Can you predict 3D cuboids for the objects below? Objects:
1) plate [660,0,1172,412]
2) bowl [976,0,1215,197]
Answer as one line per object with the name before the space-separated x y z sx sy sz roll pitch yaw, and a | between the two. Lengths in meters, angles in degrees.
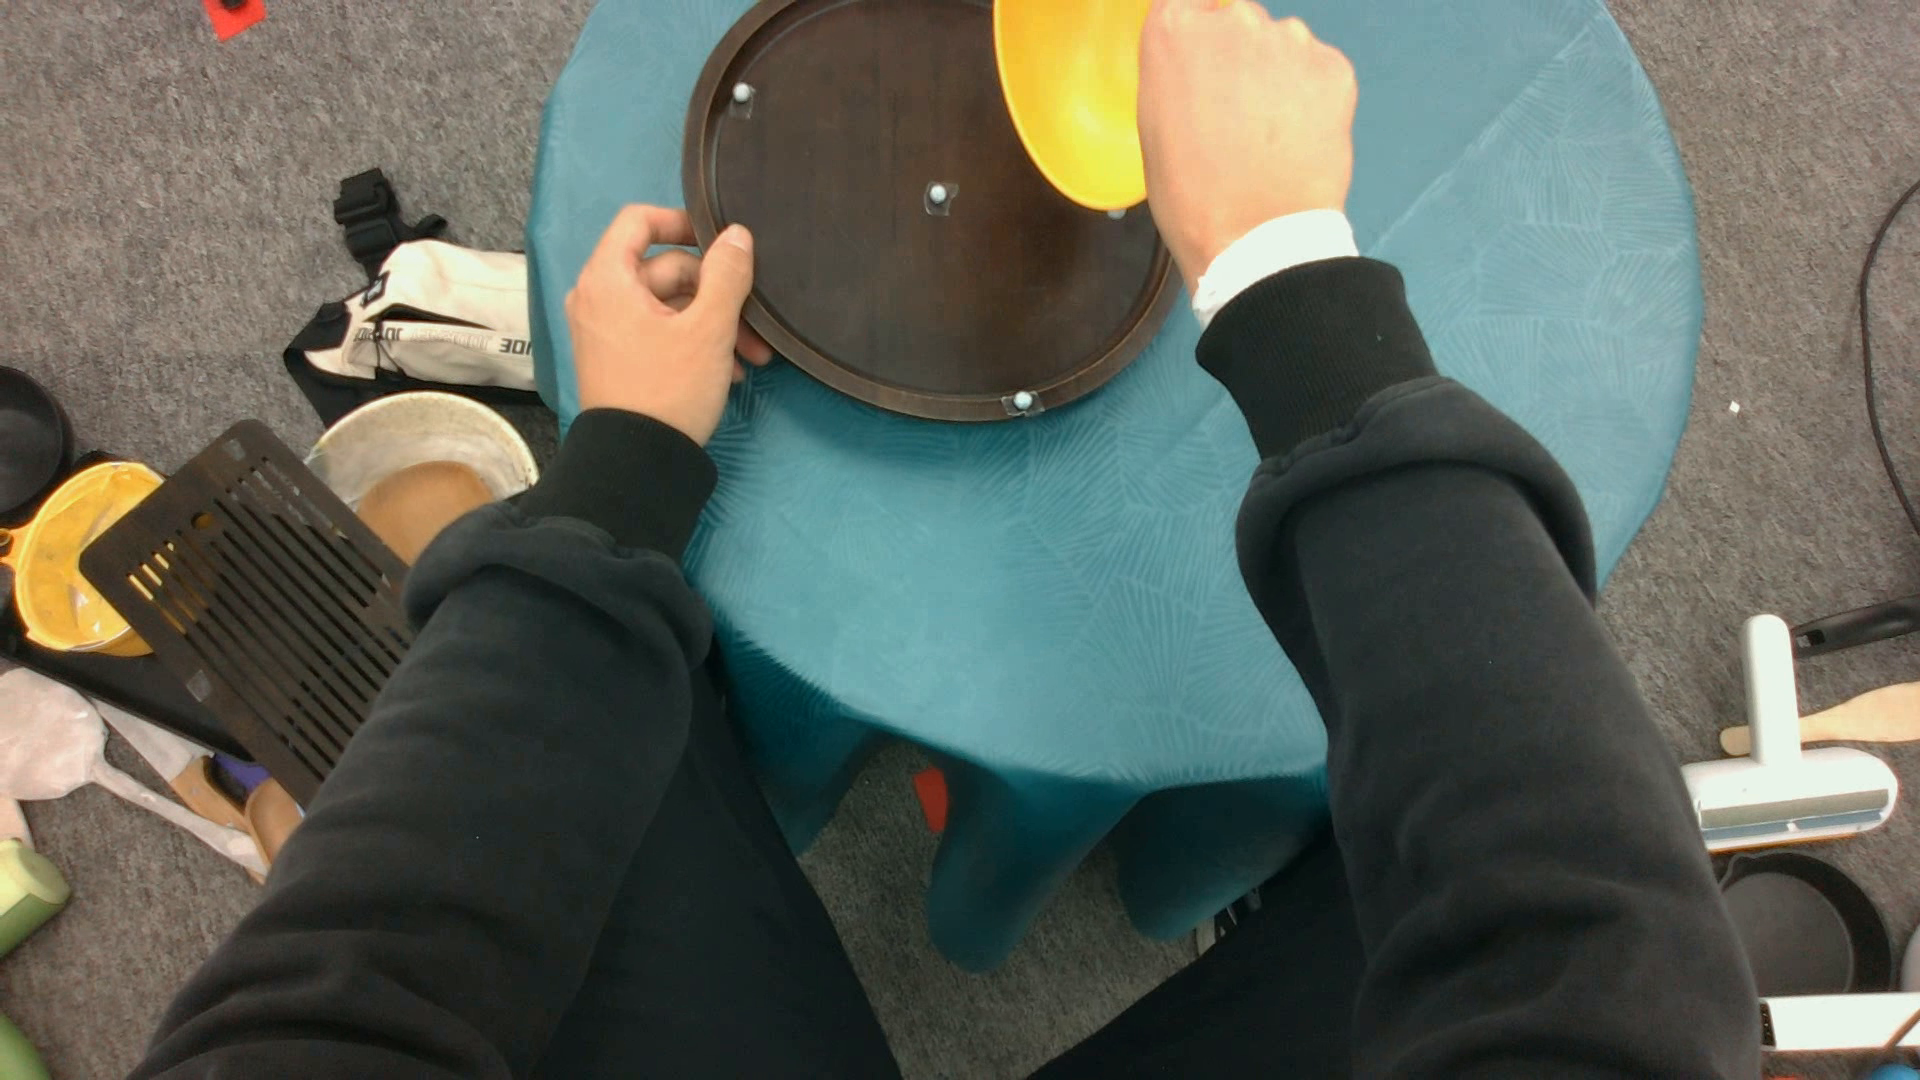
plate | -0.018 -0.178 0.674 0.255 0.029 0.255 4 73 -14
bowl | 0.069 -0.231 0.614 0.060 0.144 0.145 -18 74 -28
